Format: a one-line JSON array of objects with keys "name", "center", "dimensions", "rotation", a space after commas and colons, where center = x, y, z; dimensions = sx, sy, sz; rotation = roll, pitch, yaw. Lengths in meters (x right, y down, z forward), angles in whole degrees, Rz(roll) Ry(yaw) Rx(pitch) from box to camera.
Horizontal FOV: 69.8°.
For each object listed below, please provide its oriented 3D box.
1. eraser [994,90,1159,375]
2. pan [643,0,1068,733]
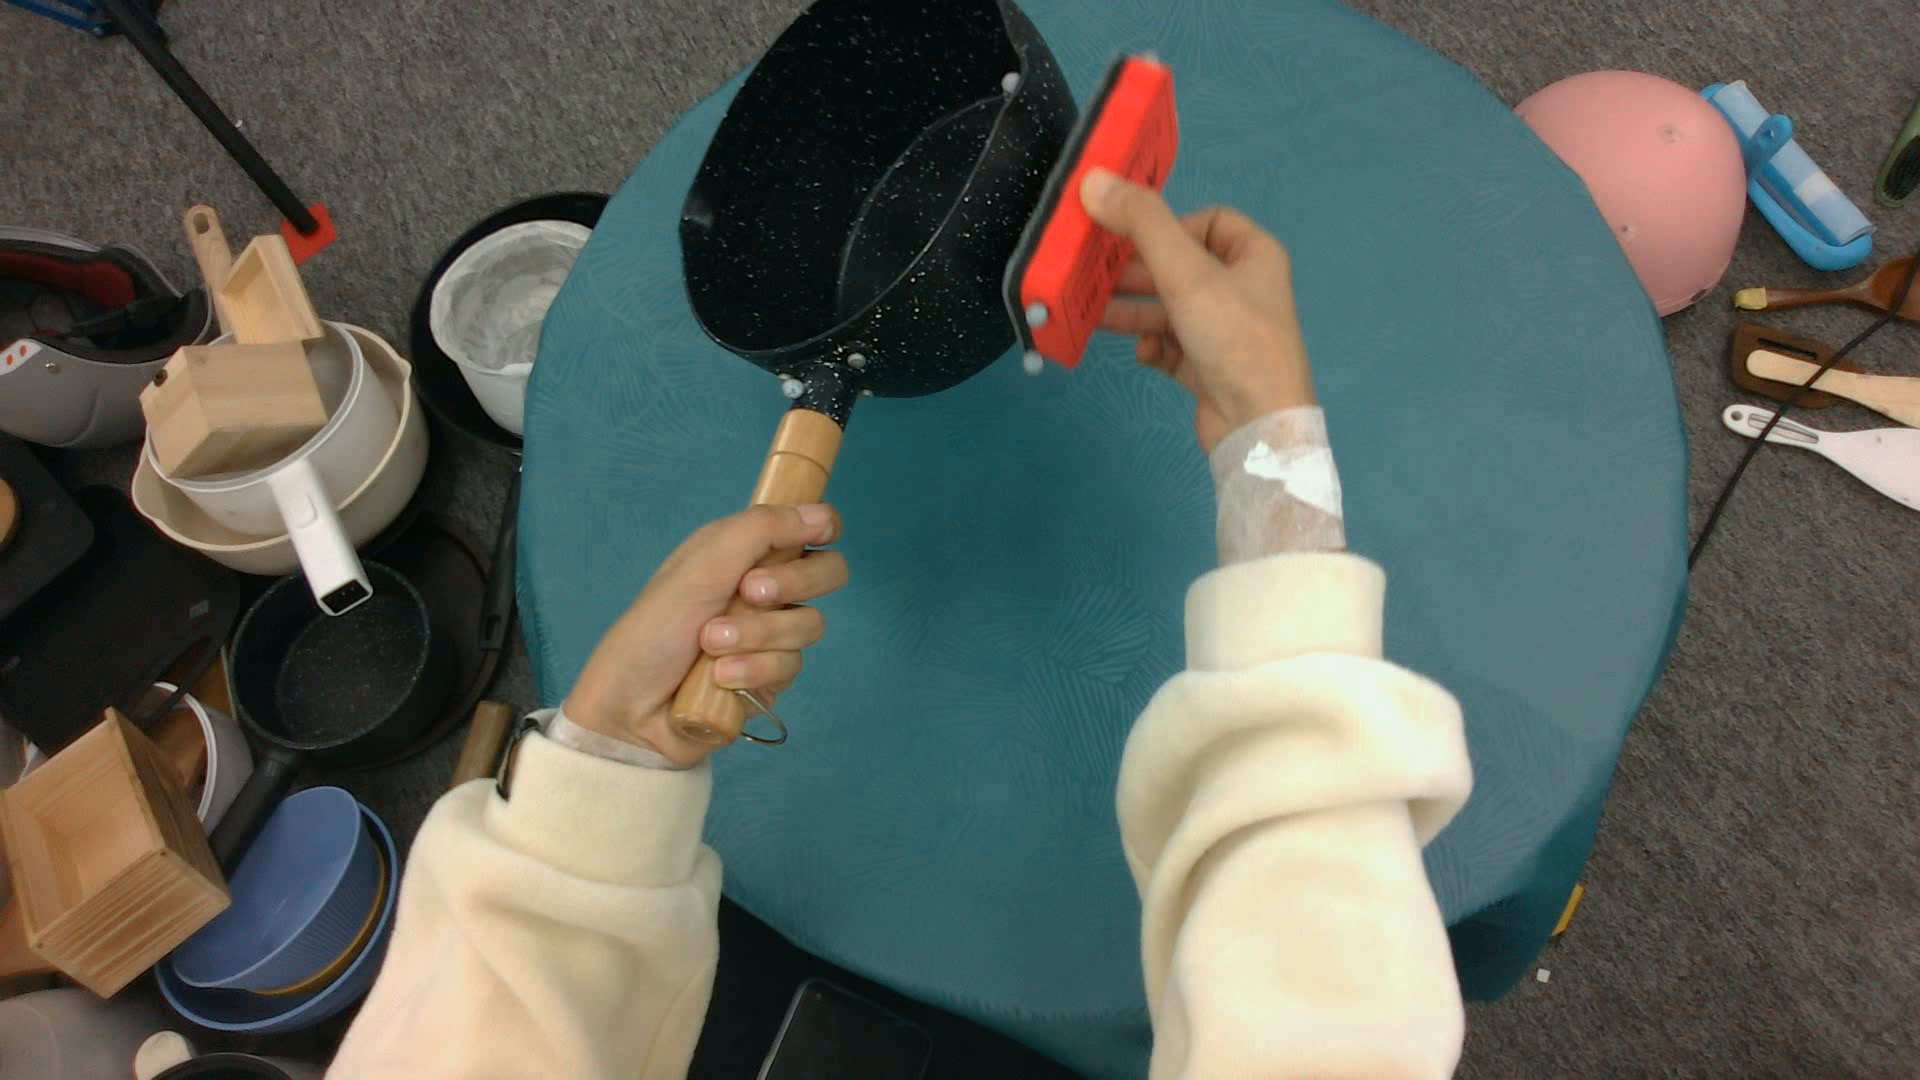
[{"name": "eraser", "center": [0.049, -0.124, 0.554], "dimensions": [0.023, 0.059, 0.108], "rotation": [22, 73, 18]}, {"name": "pan", "center": [-0.051, -0.081, 0.561], "dimensions": [0.207, 0.108, 0.344], "rotation": [-11, 63, 37]}]
